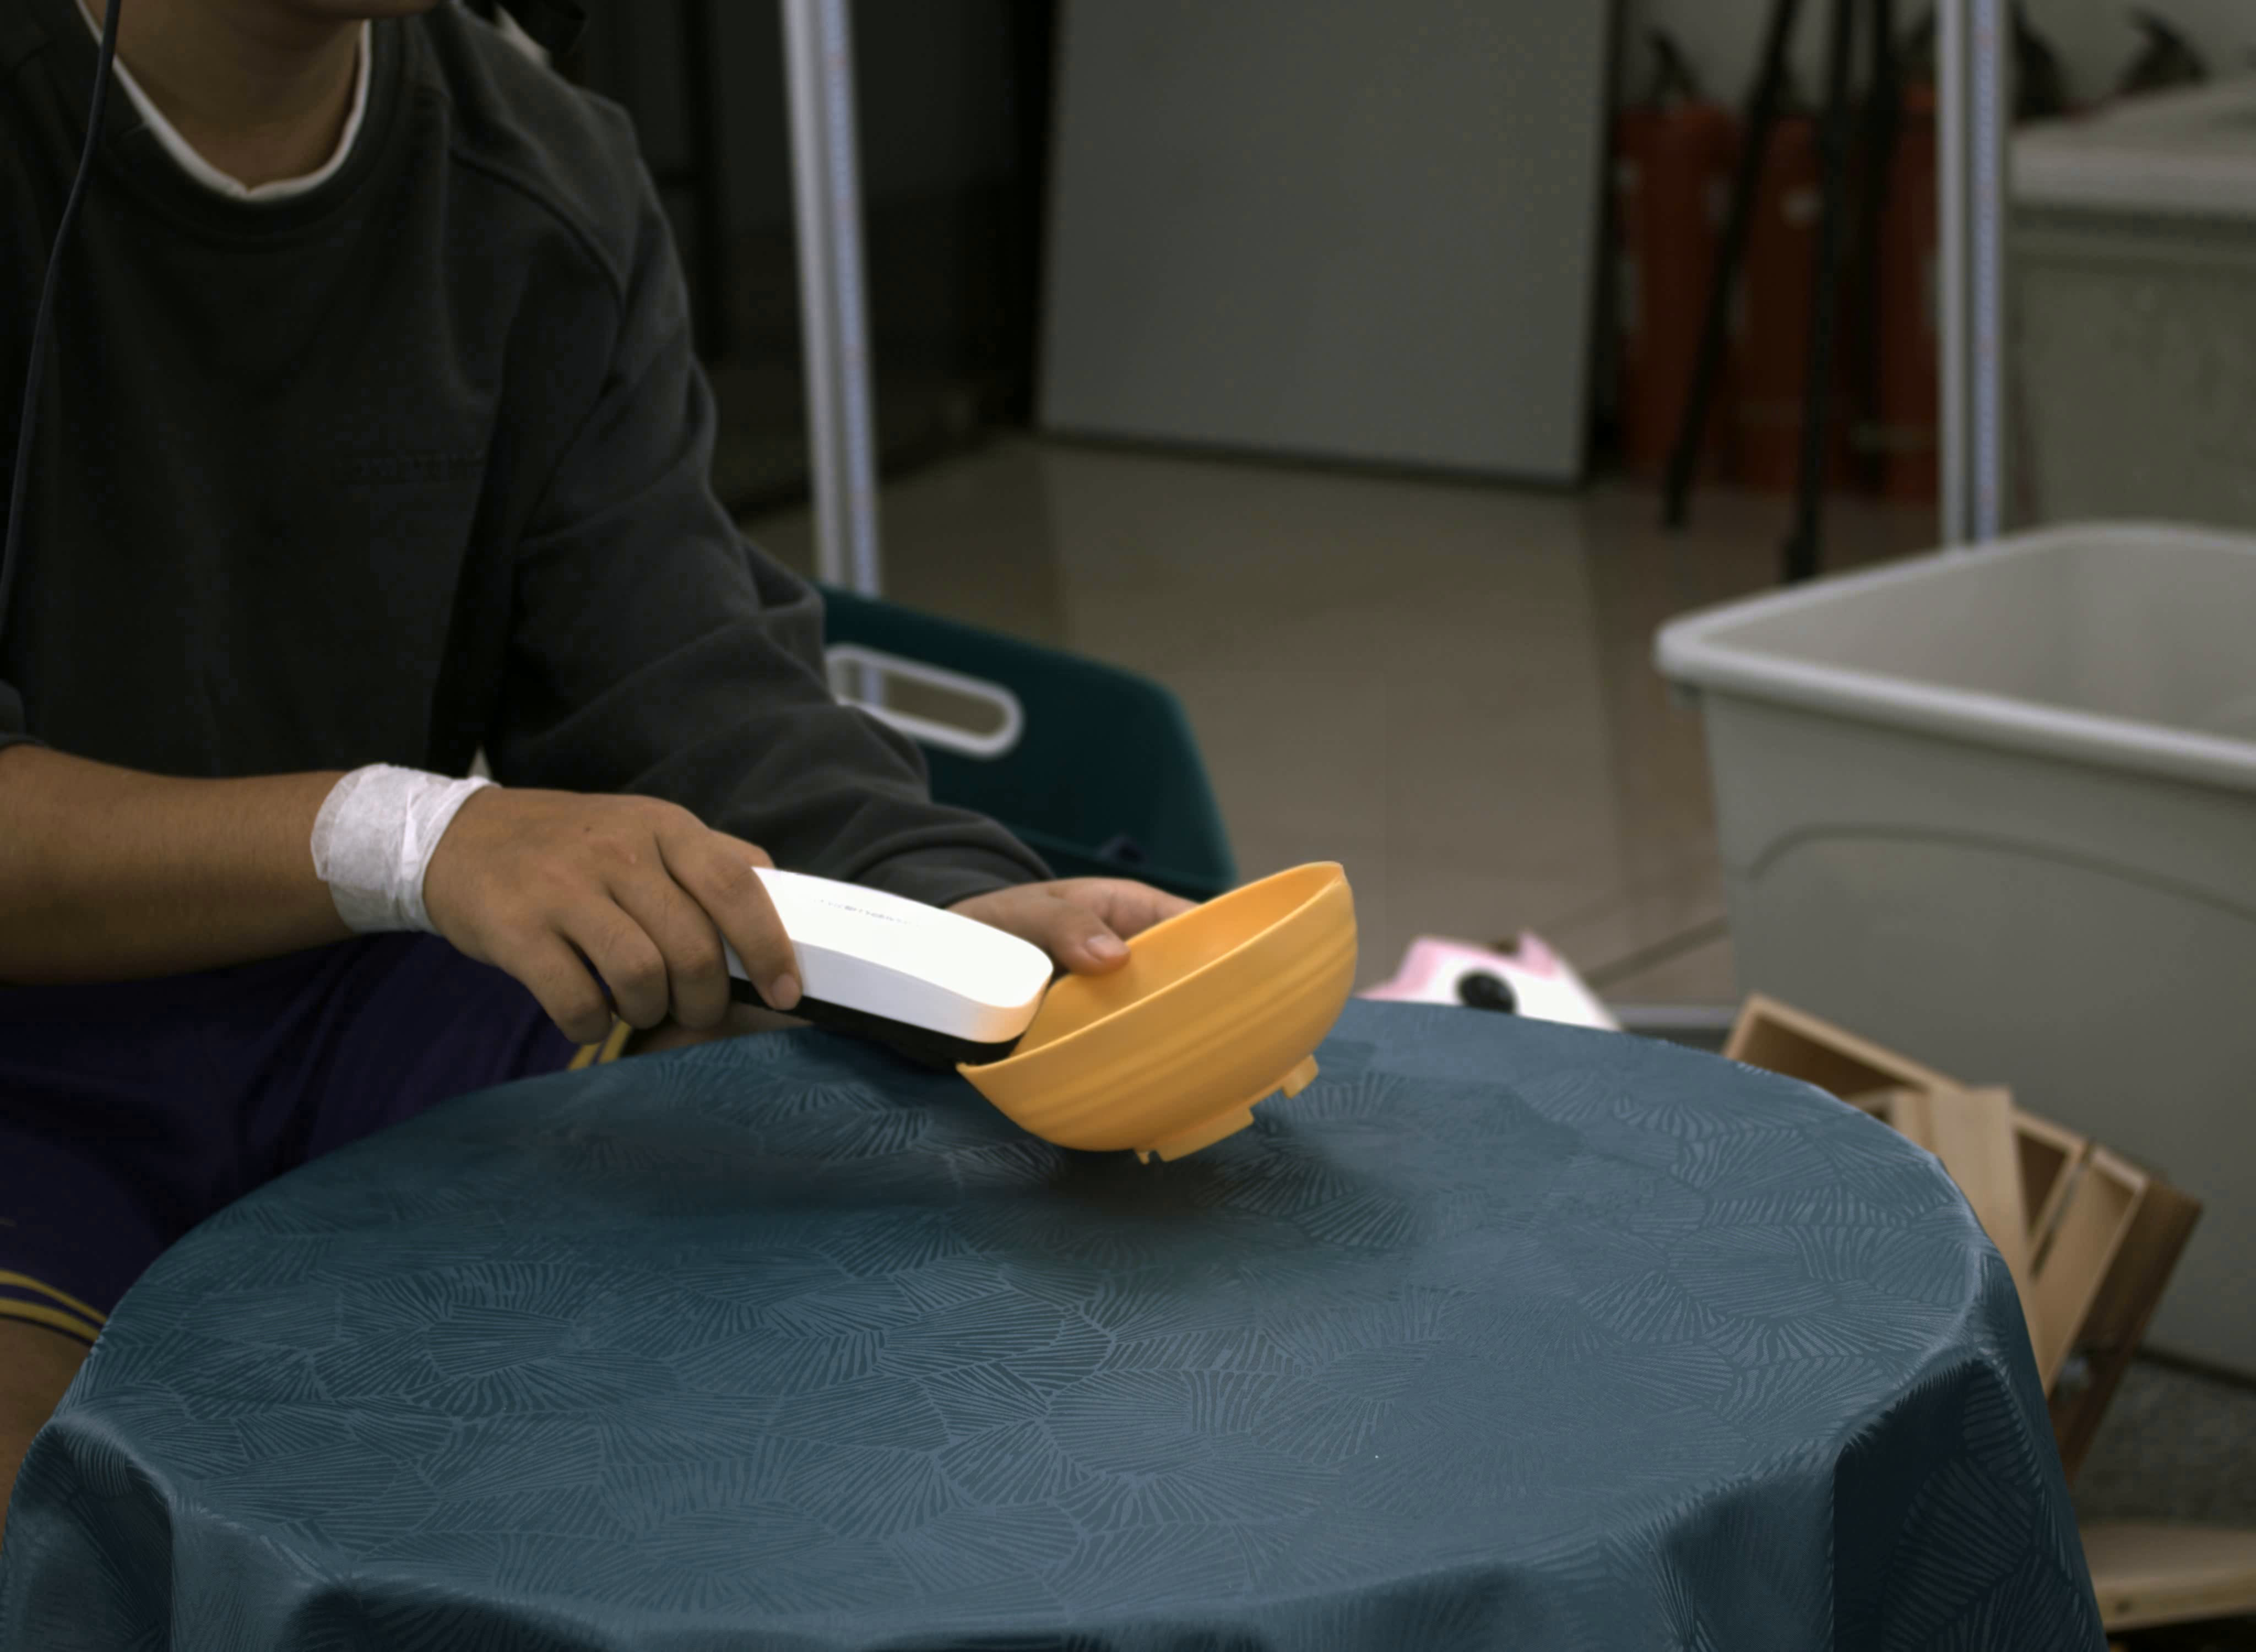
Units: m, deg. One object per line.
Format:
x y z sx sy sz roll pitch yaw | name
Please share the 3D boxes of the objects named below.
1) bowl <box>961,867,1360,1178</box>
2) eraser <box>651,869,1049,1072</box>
0.022 0.073 1.761 0.144 0.060 0.145 -29 3 1 | bowl
-0.092 0.044 1.792 0.131 0.035 0.063 16 19 13 | eraser
